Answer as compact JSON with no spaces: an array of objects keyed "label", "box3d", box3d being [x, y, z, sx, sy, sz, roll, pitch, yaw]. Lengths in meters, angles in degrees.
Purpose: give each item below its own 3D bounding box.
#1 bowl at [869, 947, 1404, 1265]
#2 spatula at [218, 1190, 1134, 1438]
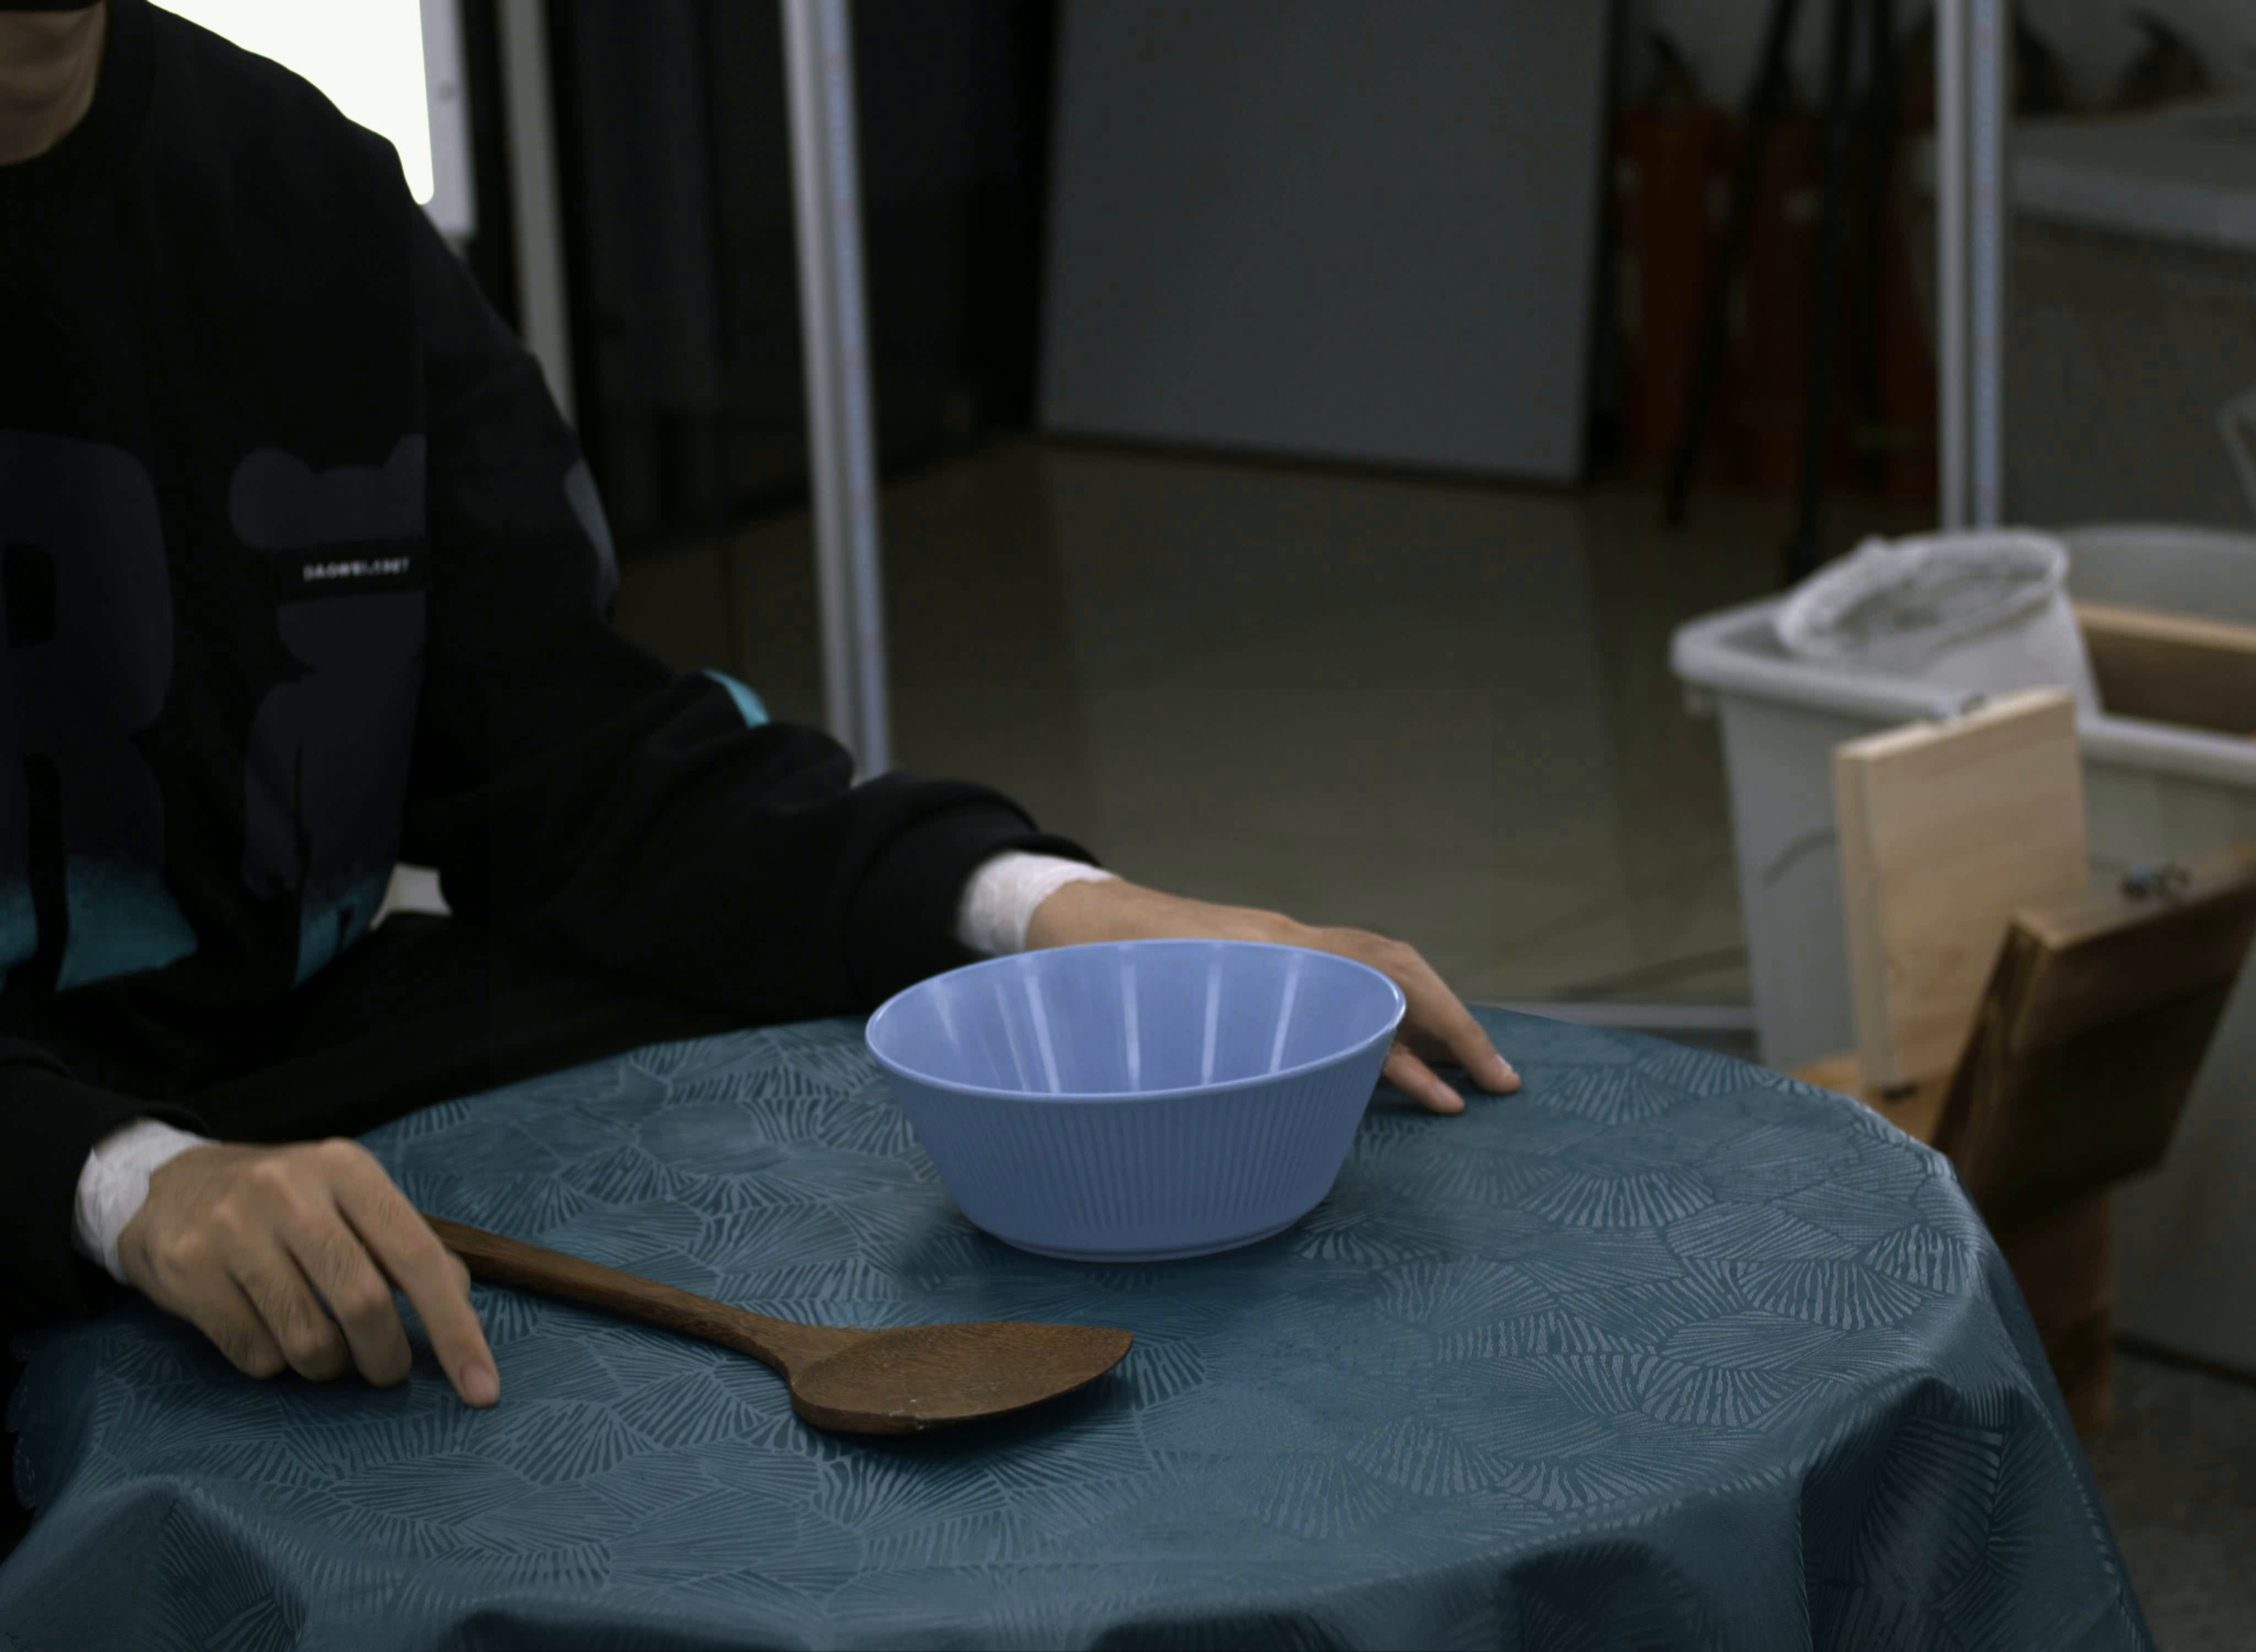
[{"label":"bowl","box3d":[0.005,0.092,1.741,0.174,0.071,0.176,-5,12,0]},{"label":"spatula","box3d":[-0.159,0.147,1.686,0.389,0.016,0.094,9,18,42]}]
